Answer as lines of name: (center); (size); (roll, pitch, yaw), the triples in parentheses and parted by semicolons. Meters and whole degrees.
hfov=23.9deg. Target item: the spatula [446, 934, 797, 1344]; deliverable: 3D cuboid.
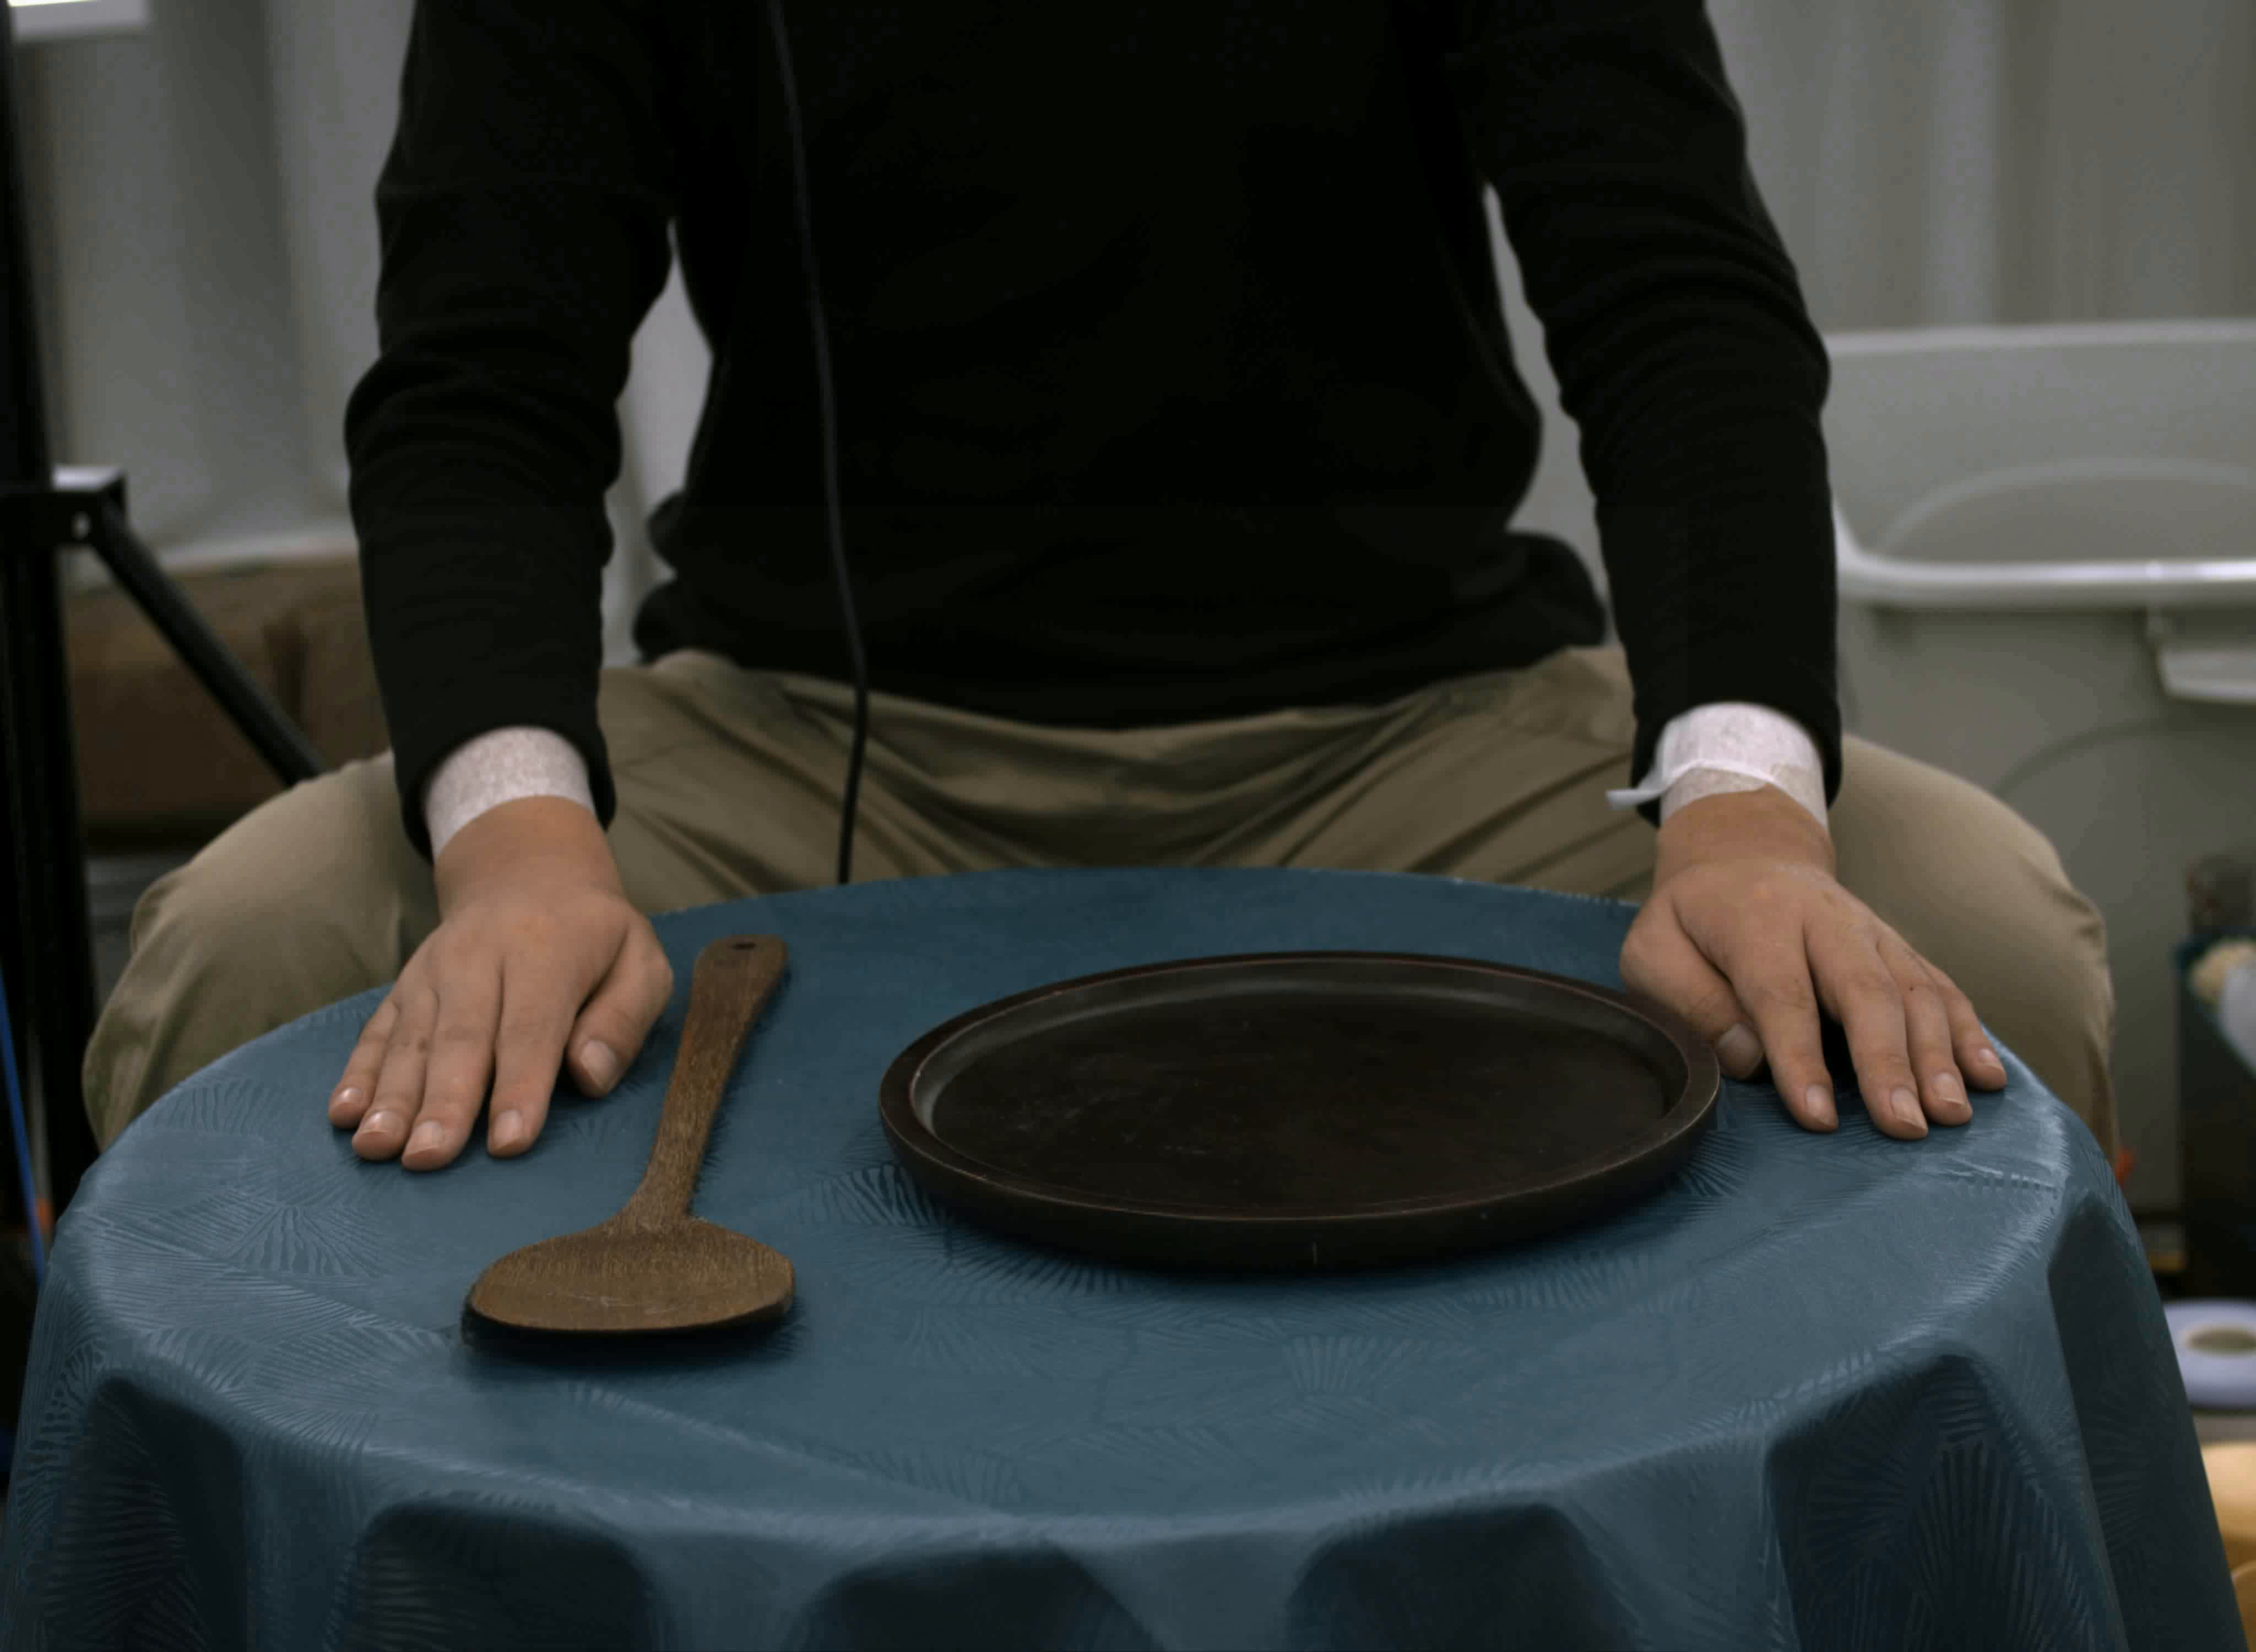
spatula: (-0.135, 0.089, 1.622); (0.096, 0.016, 0.387); (-1, 16, 2)

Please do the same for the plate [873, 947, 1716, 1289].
plate: (0.050, 0.085, 1.591); (0.253, 0.029, 0.256); (-4, 17, 0)
